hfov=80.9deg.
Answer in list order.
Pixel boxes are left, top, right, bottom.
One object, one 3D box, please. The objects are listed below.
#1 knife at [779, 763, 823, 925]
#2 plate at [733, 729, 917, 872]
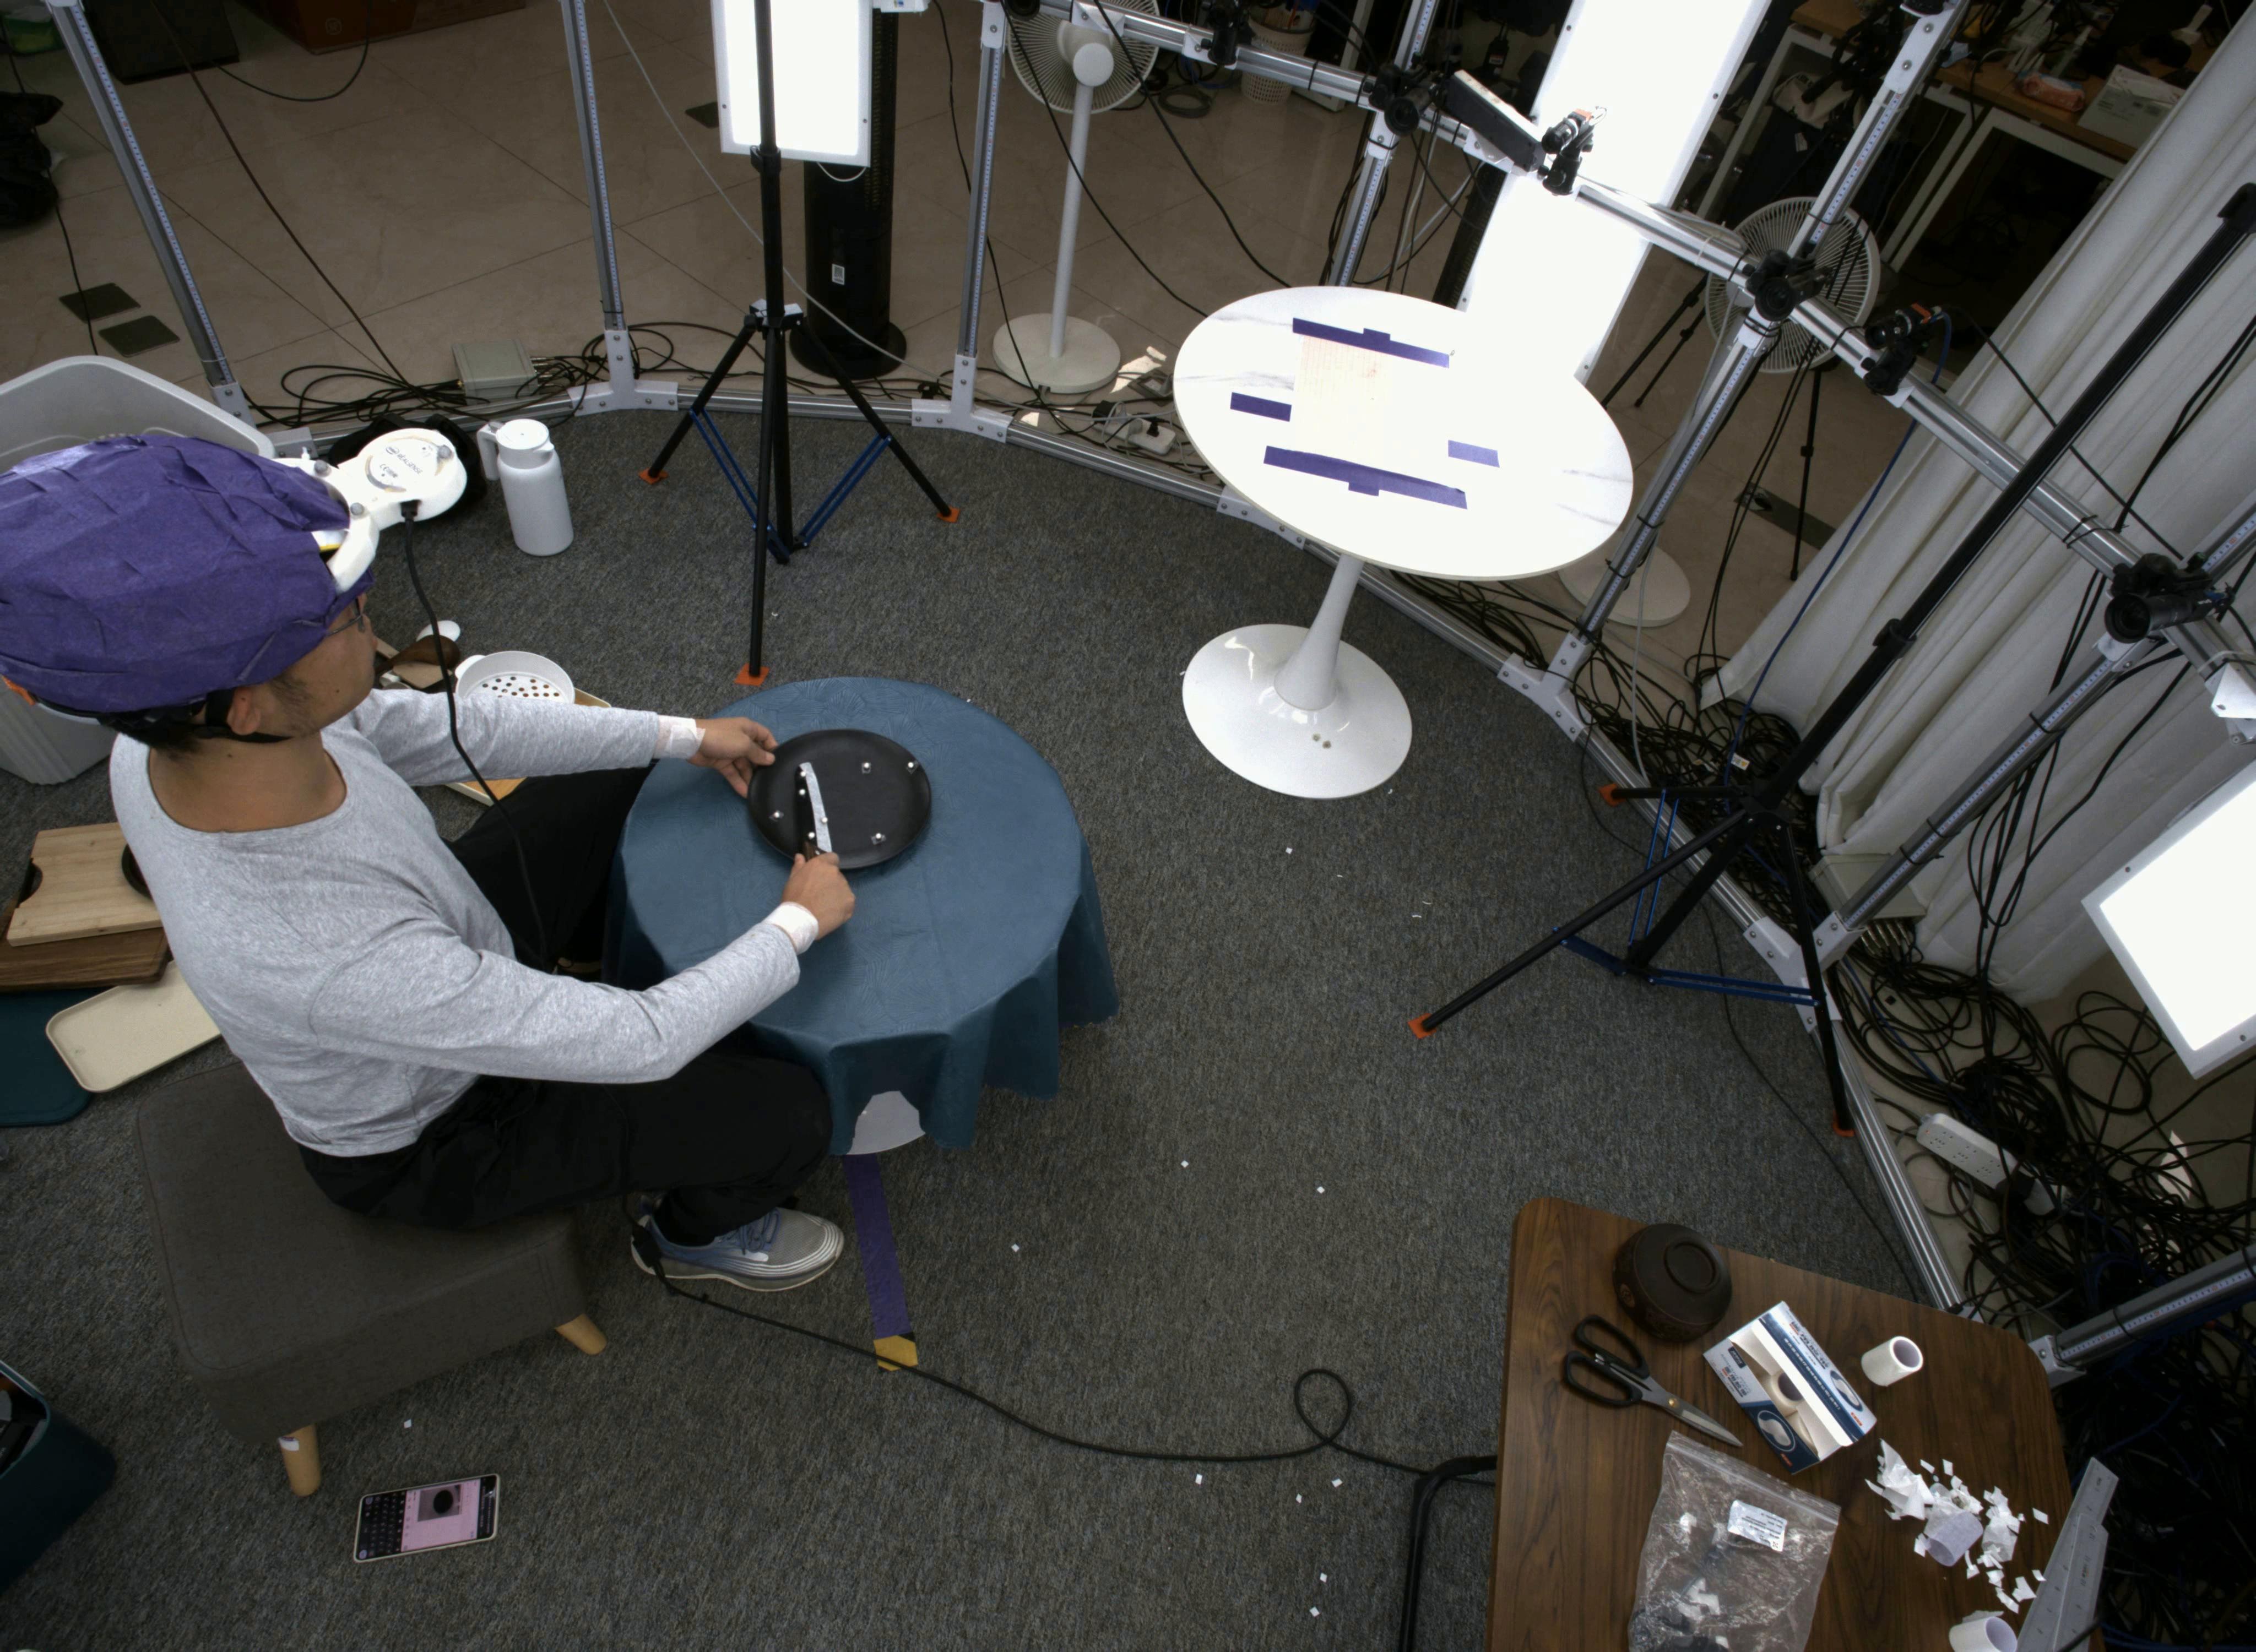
[{"bbox_3d":[-0.422,0.015,1.673,0.052,0.020,0.281,29,30,-42],"label":"knife"},{"bbox_3d":[-0.407,-0.033,1.749,0.244,0.024,0.240,8,53,-9],"label":"plate"}]
